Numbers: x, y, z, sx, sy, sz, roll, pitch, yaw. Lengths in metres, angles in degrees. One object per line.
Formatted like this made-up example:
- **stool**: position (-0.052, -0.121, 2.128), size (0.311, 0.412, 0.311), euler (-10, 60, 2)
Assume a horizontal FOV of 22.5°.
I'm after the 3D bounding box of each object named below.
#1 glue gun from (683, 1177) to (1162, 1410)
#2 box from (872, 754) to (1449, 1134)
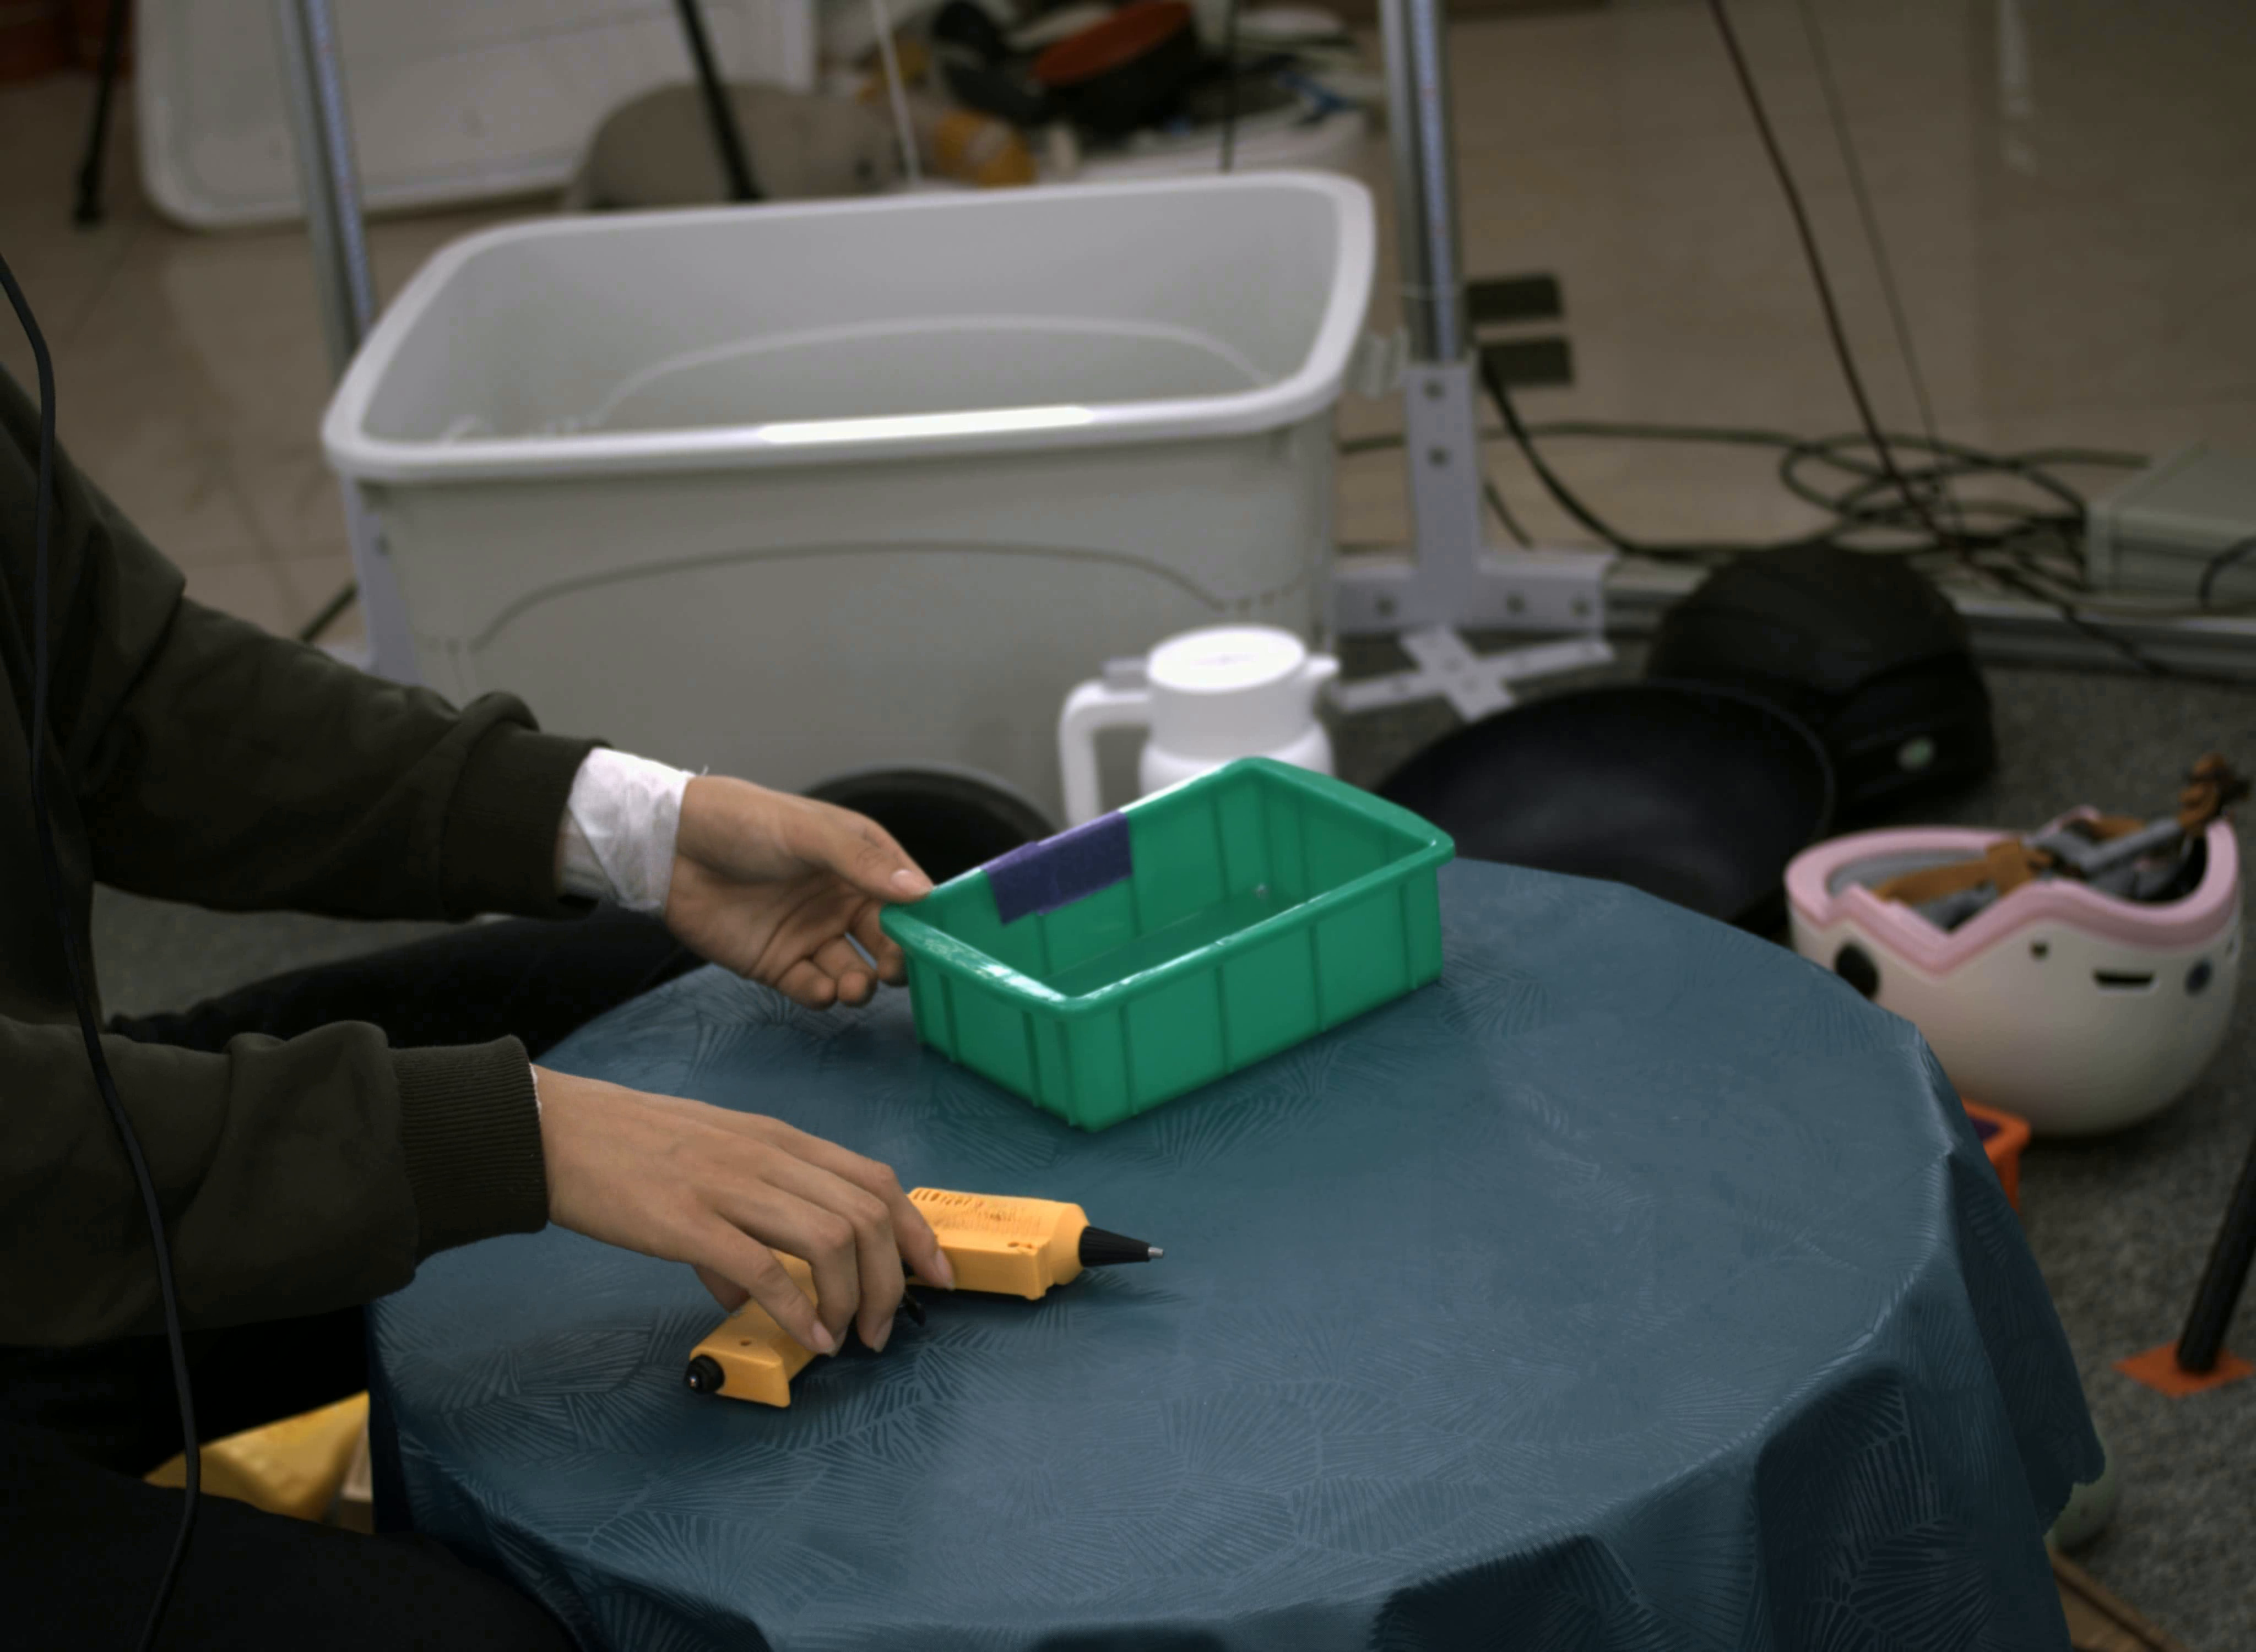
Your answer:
- **glue gun**: position (-0.071, 0.173, 2.065), size (0.151, 0.031, 0.131), euler (3, 29, 18)
- **box**: position (0.017, 0.047, 2.265), size (0.209, 0.066, 0.137), euler (-25, 29, -31)
